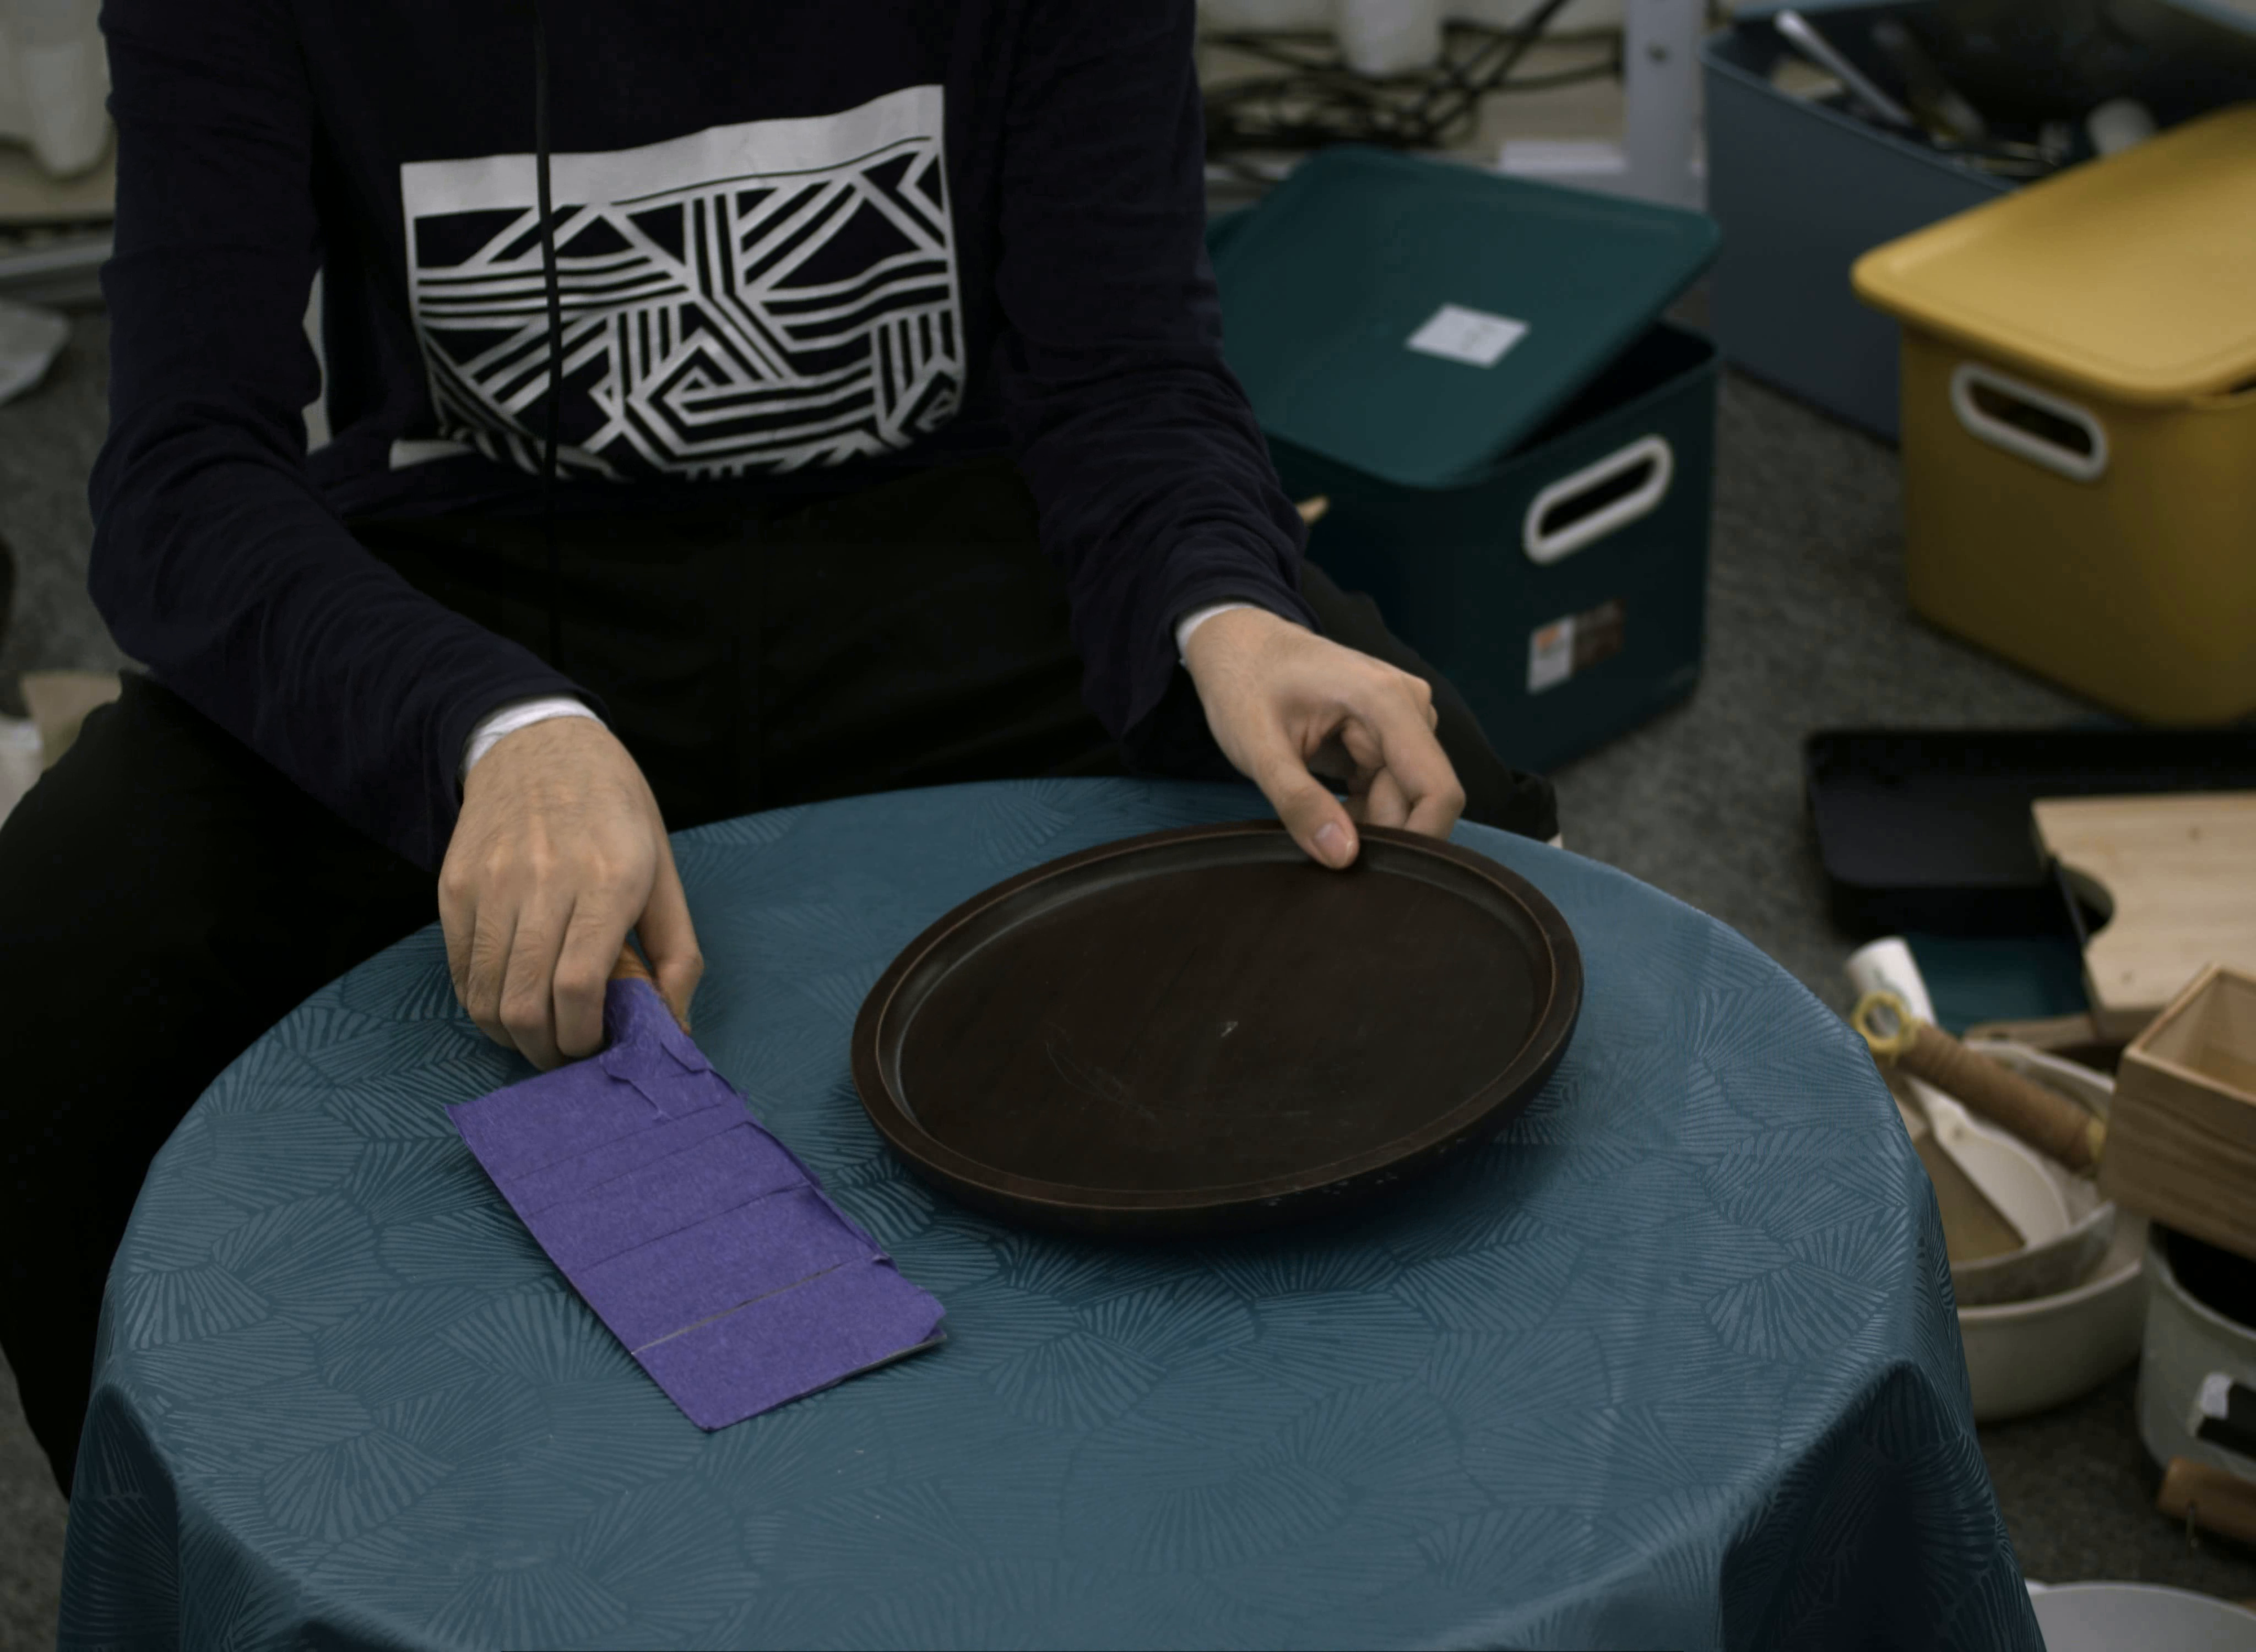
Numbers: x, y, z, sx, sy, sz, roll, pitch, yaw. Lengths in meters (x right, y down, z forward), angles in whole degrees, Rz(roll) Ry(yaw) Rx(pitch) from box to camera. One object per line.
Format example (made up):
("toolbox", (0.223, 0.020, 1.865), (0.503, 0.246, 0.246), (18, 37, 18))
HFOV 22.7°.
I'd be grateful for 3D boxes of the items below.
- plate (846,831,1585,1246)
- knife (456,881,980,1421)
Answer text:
("plate", (0.030, 0.070, 1.915), (0.253, 0.029, 0.259), (-6, 29, 3))
("knife", (-0.166, 0.104, 1.875), (0.104, 0.032, 0.317), (-18, 32, -24))
